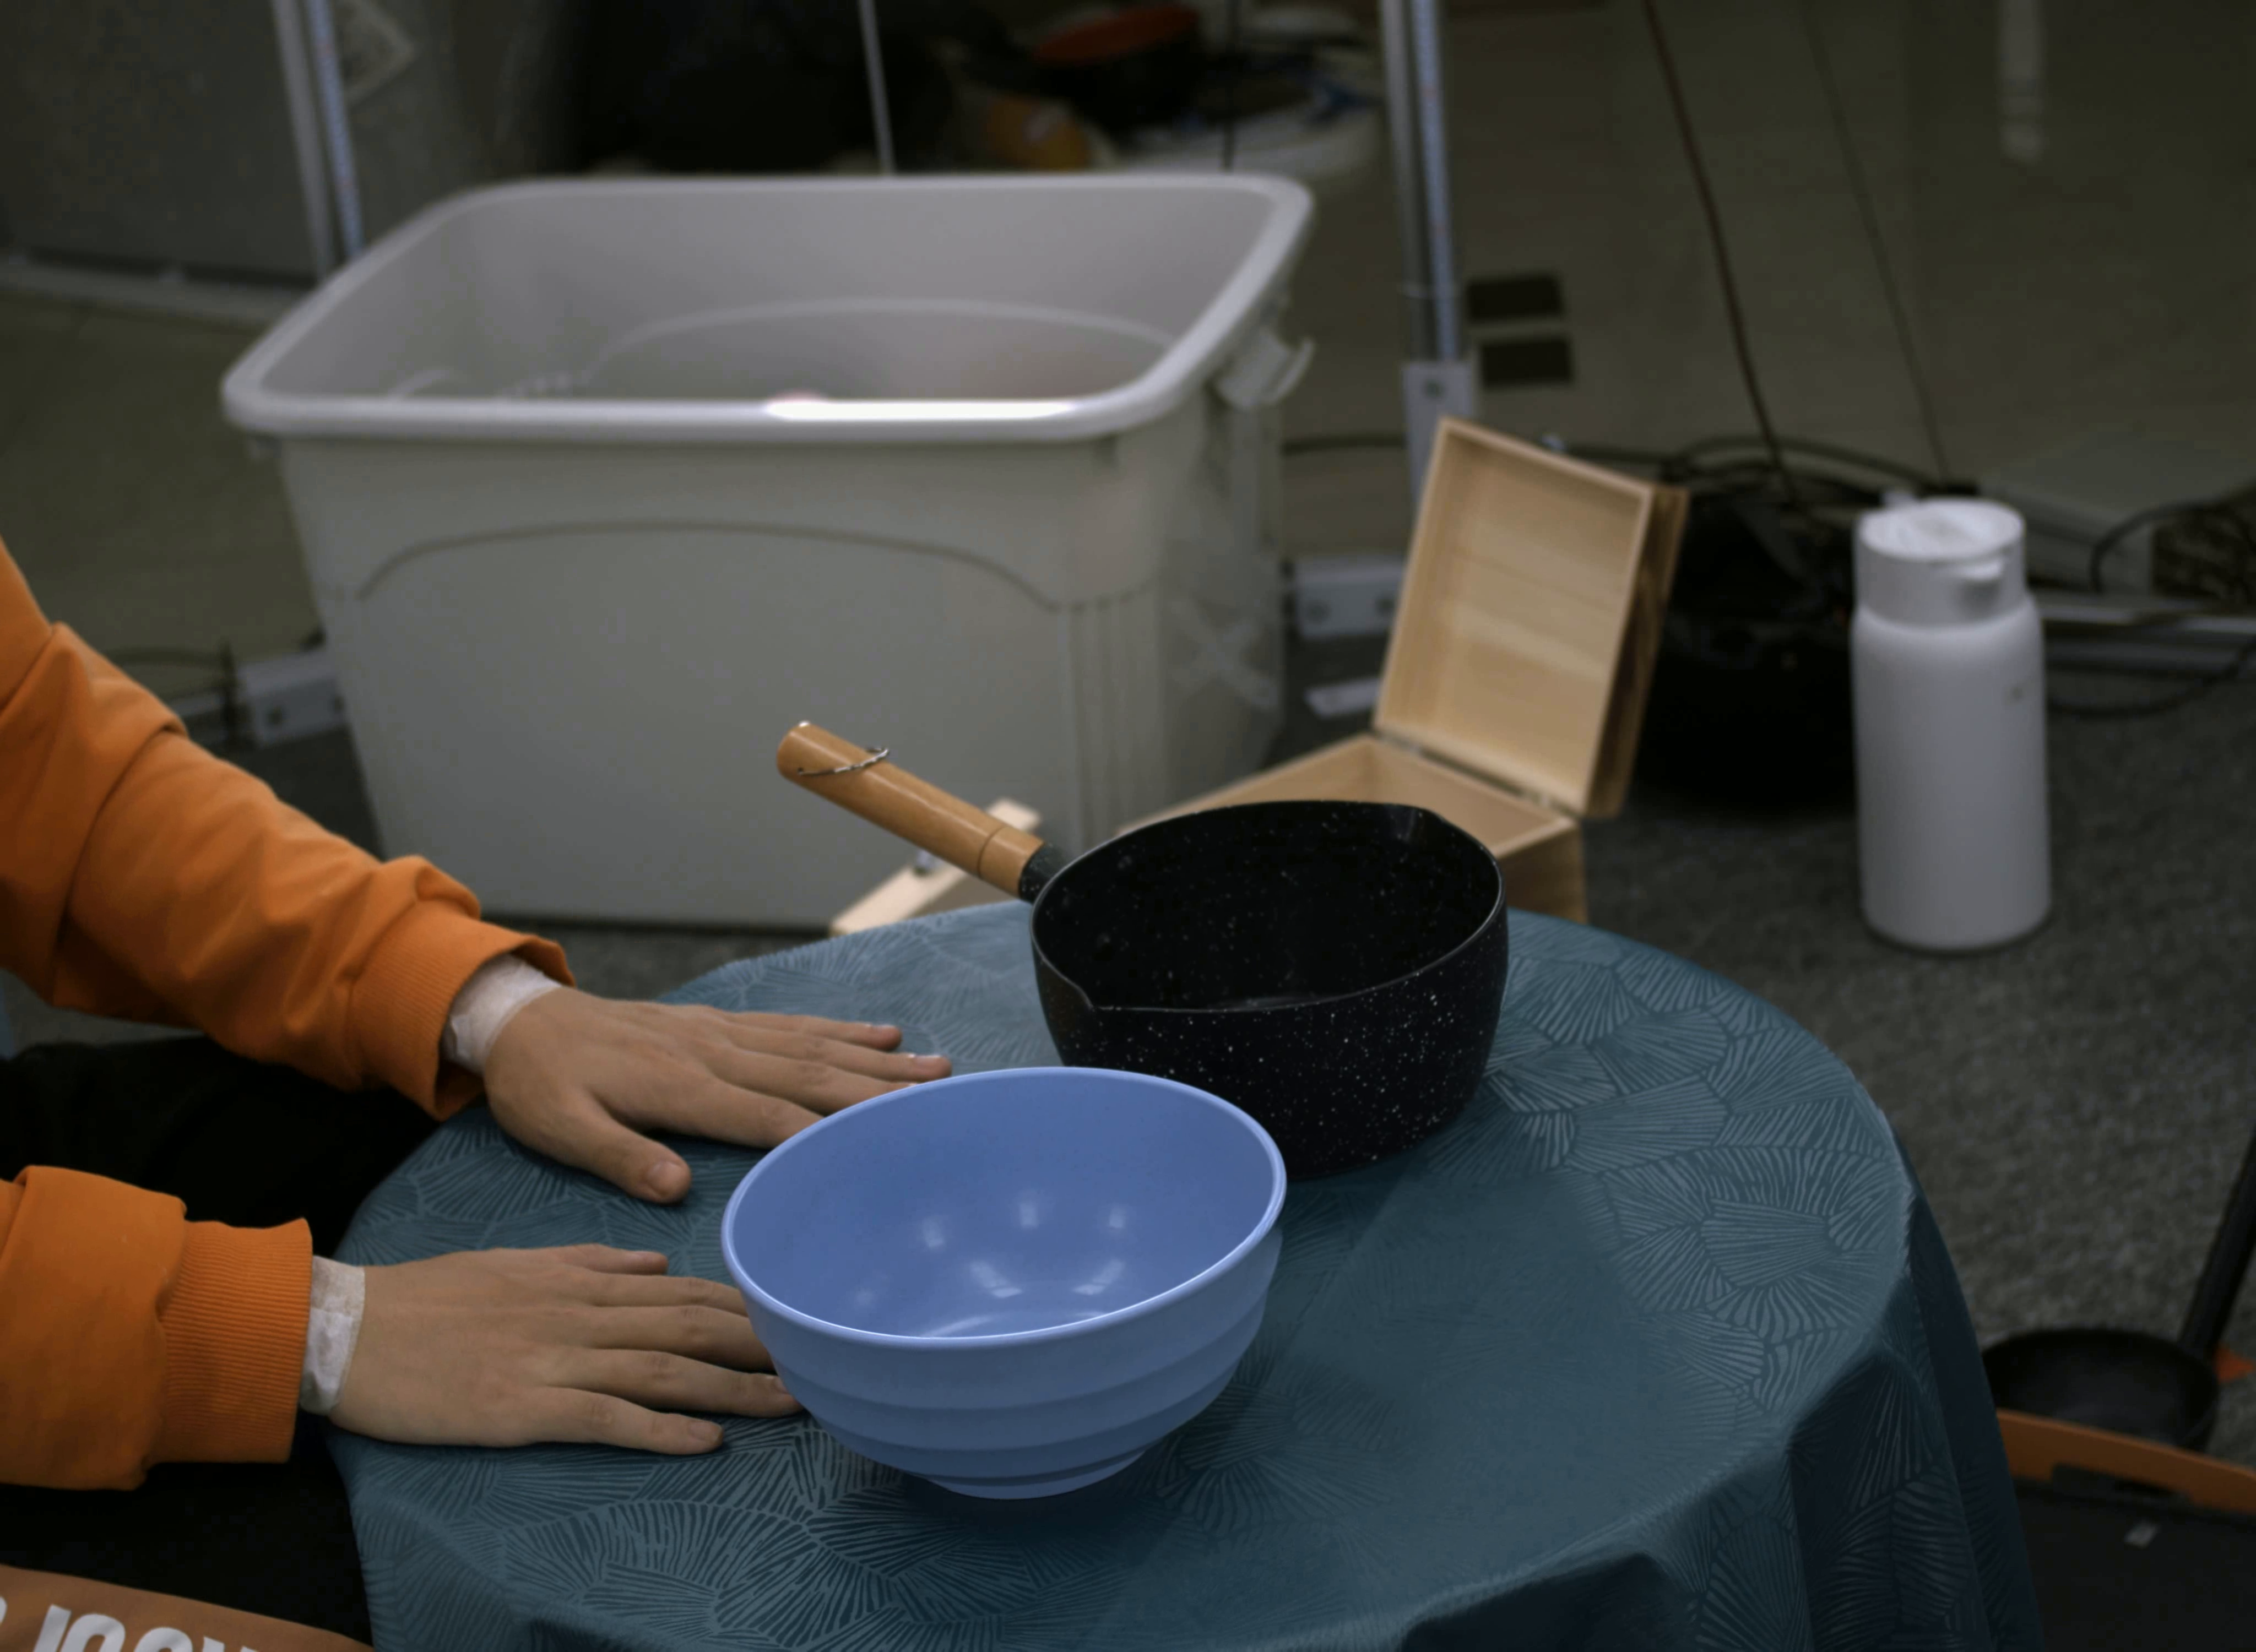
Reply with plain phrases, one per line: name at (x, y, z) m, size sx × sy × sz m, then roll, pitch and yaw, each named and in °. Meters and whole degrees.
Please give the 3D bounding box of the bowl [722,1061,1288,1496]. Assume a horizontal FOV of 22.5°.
bowl at (-0.039, 0.169, 1.976) m, size 0.196 × 0.097 × 0.193 m, roll -4°, pitch 26°, yaw 2°

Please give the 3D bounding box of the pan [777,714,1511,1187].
pan at (-0.005, 0.040, 2.229) m, size 0.340 × 0.110 × 0.205 m, roll 15°, pitch 34°, yaw 36°
